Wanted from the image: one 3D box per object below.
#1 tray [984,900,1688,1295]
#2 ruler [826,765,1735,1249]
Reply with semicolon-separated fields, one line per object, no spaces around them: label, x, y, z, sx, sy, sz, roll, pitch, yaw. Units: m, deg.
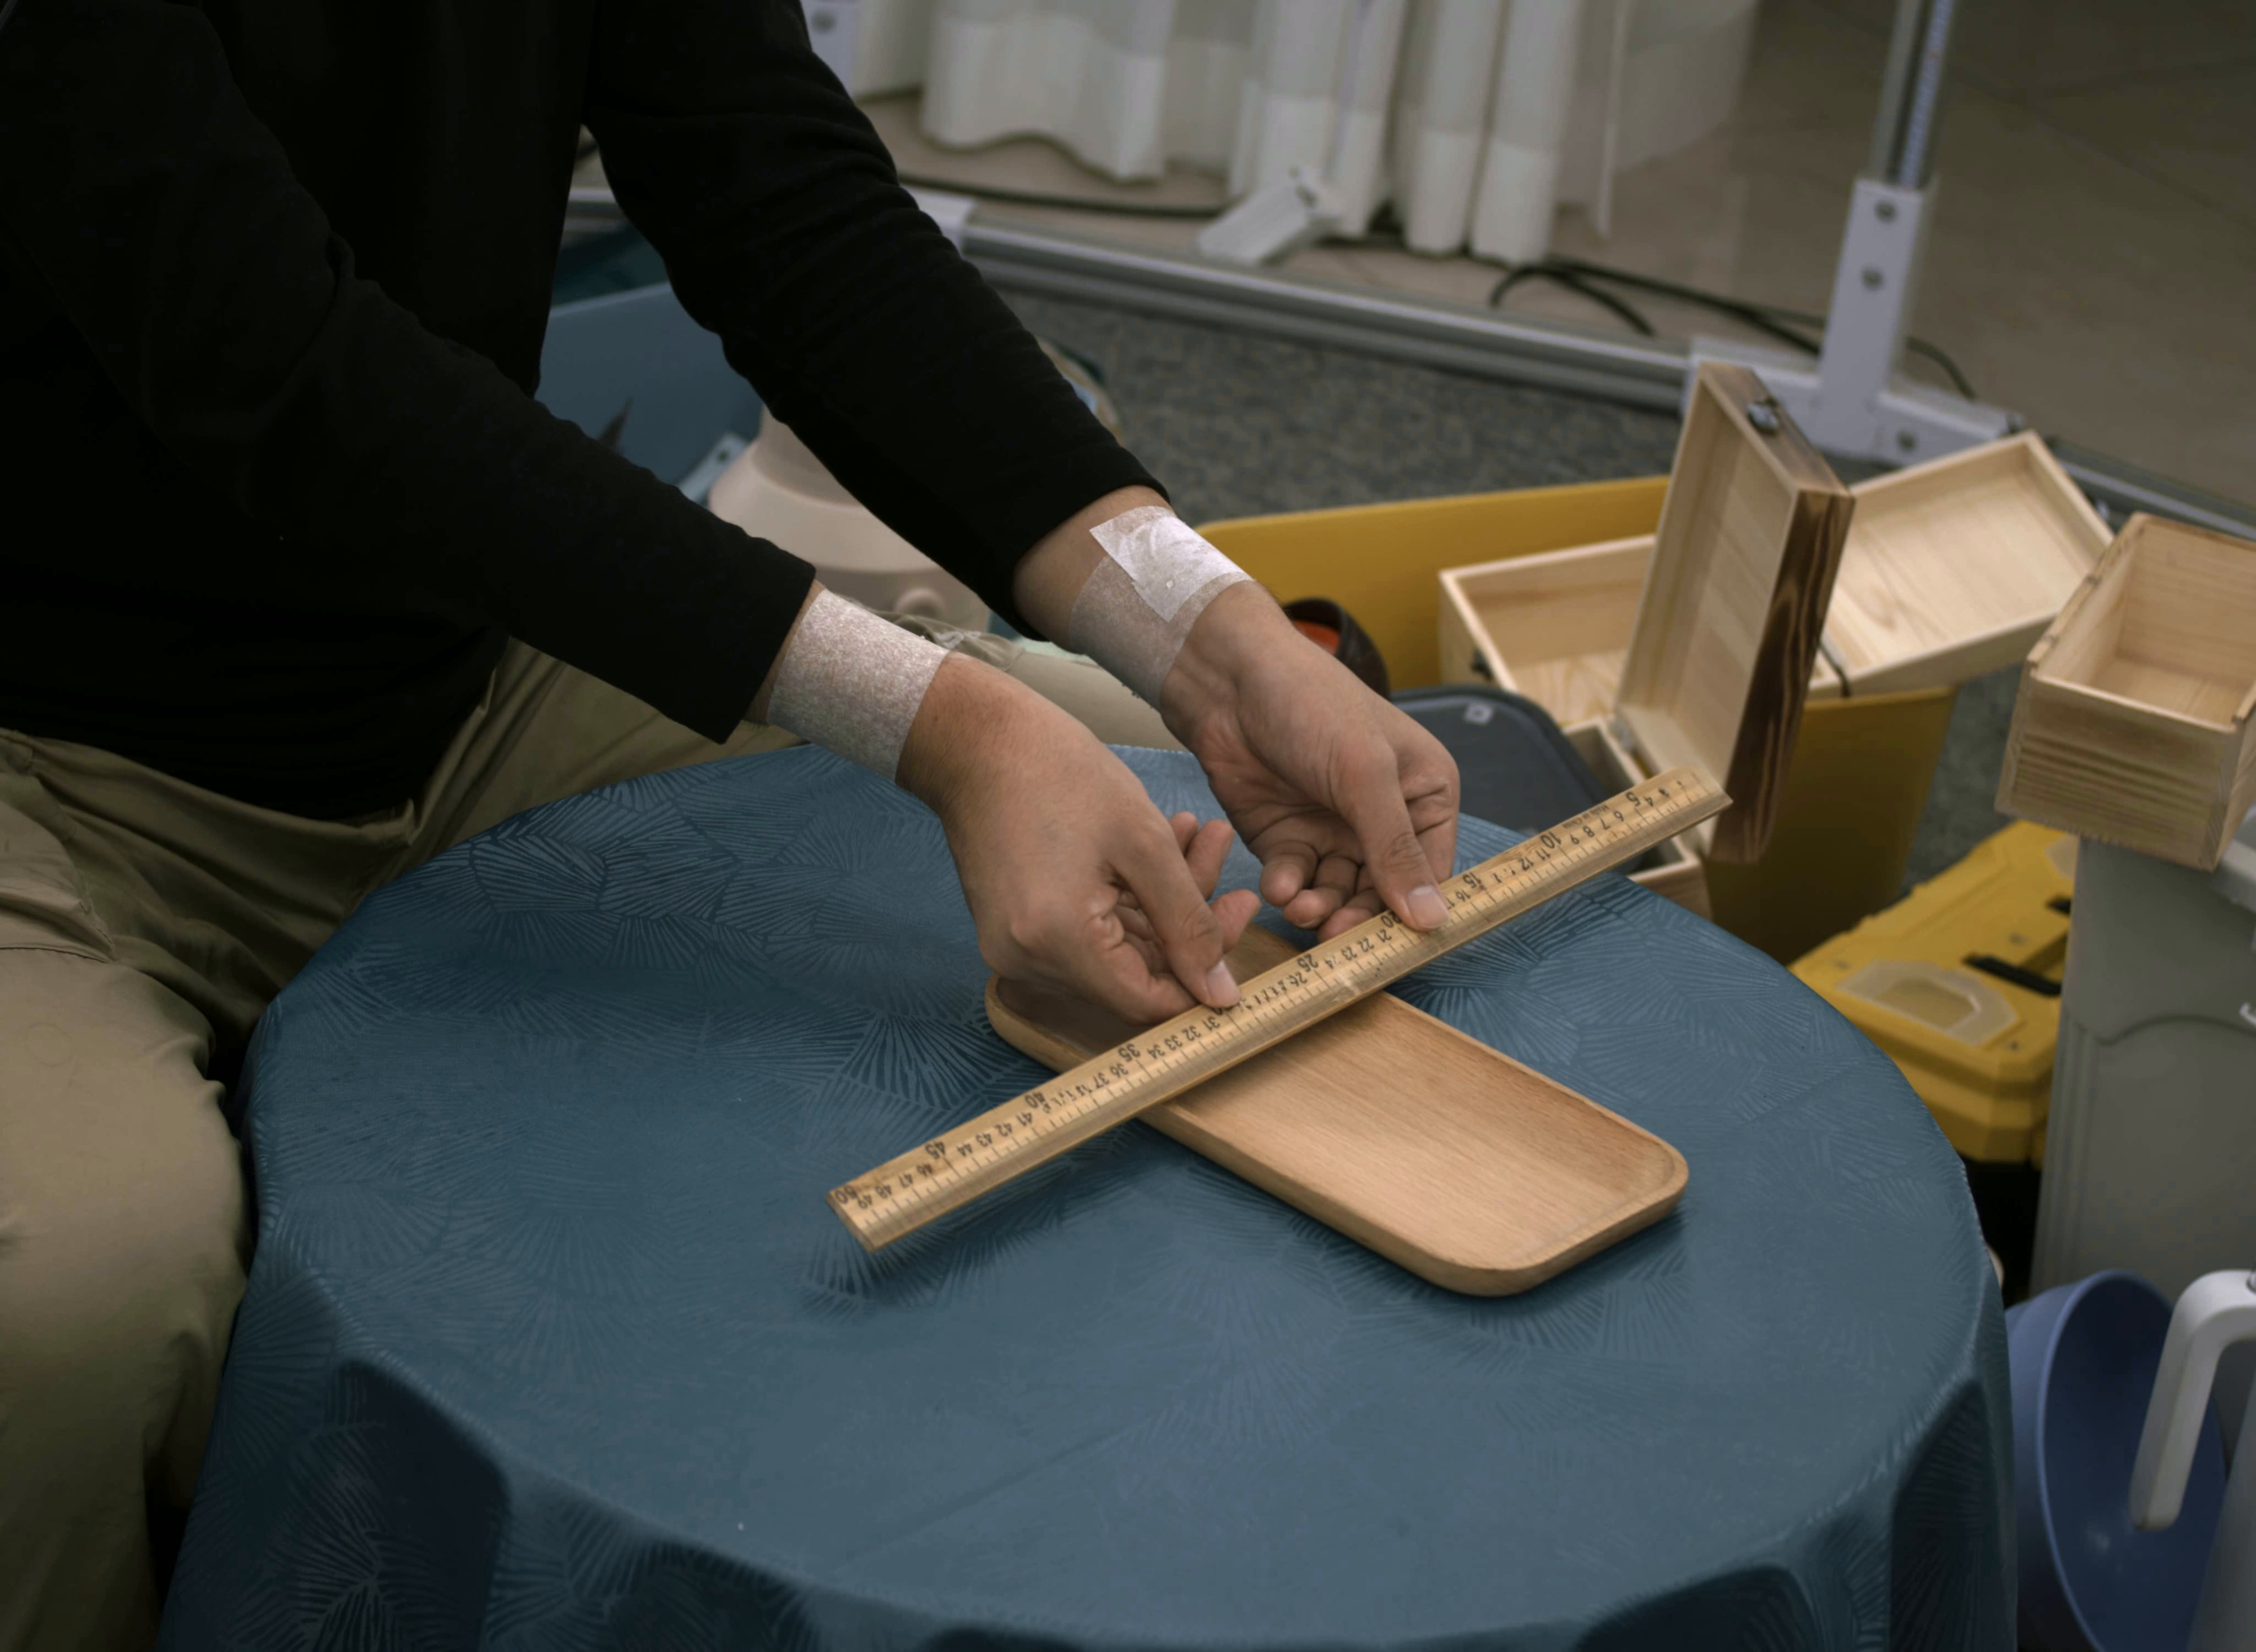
tray;0.070;0.093;1.861;0.252;0.023;0.130;27;31;37
ruler;0.068;0.056;1.898;0.498;0.006;0.027;-24;67;-45
